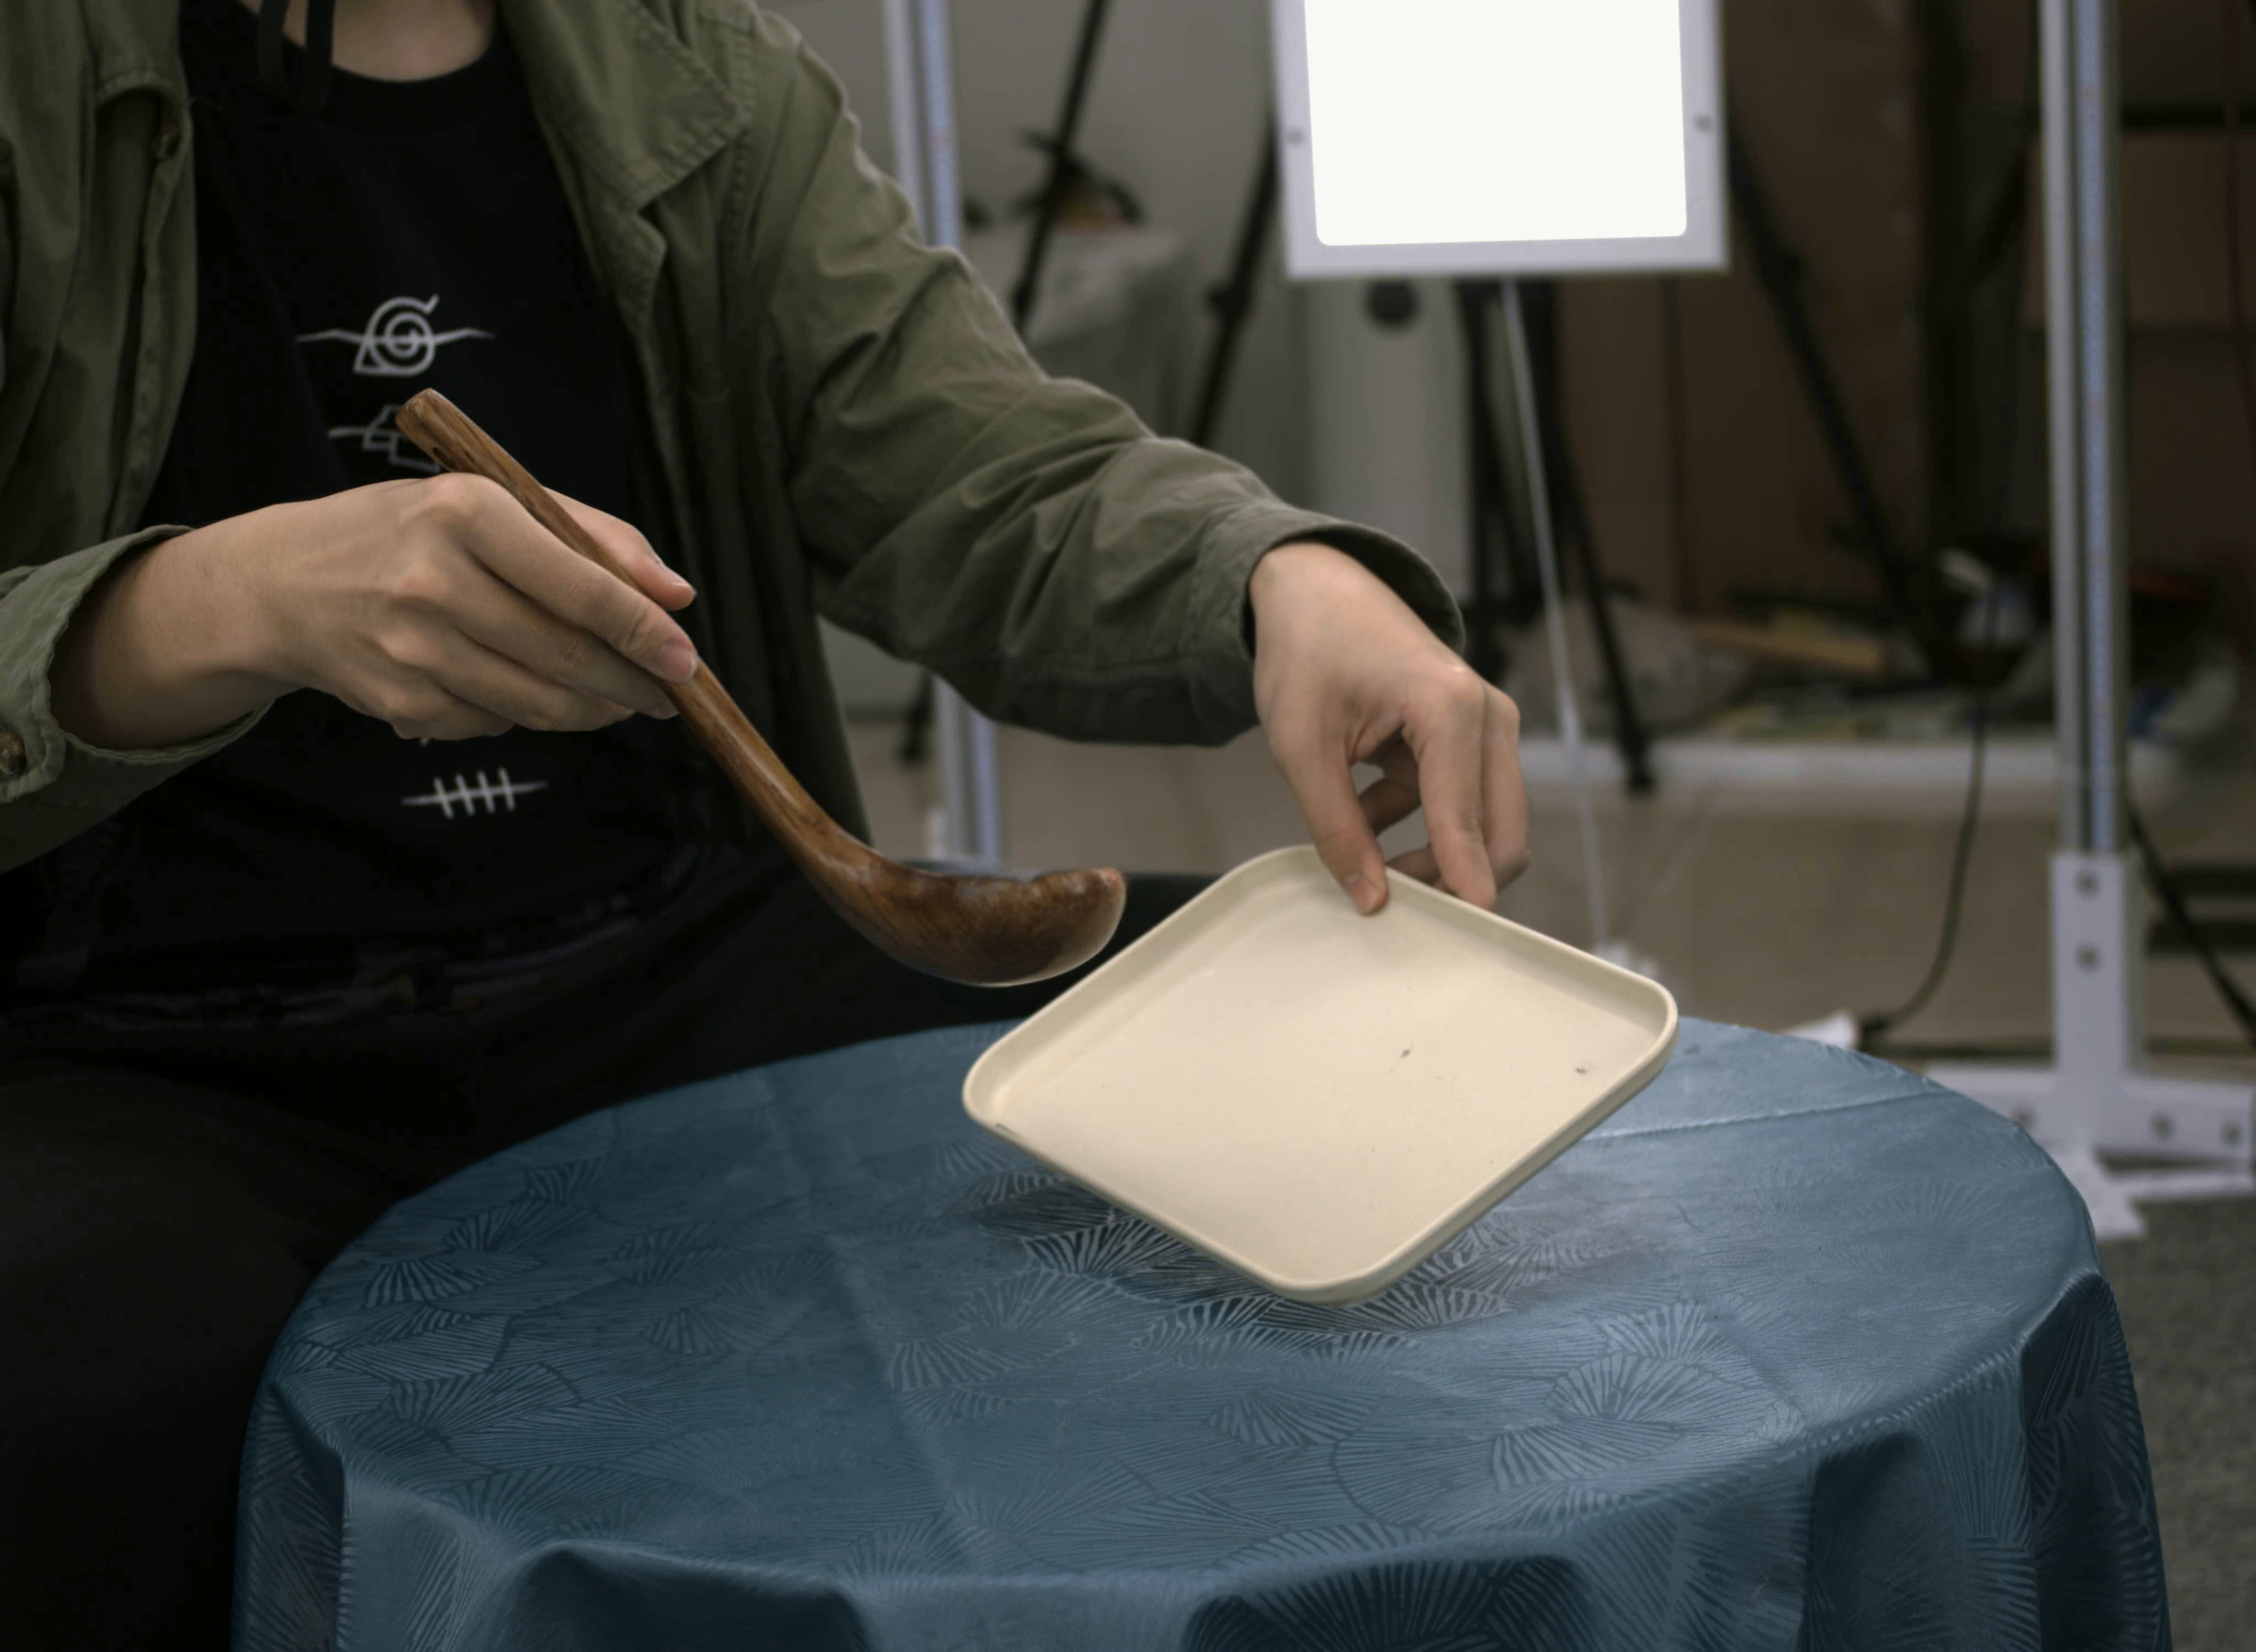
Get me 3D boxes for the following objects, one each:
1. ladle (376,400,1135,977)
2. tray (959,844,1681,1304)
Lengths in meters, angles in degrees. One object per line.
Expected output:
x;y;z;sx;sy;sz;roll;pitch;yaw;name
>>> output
-0.111;-0.053;1.719;0.075;0.274;0.083;-45;3;-23;ladle
0.062;0.081;1.833;0.169;0.017;0.244;-36;31;-20;tray
